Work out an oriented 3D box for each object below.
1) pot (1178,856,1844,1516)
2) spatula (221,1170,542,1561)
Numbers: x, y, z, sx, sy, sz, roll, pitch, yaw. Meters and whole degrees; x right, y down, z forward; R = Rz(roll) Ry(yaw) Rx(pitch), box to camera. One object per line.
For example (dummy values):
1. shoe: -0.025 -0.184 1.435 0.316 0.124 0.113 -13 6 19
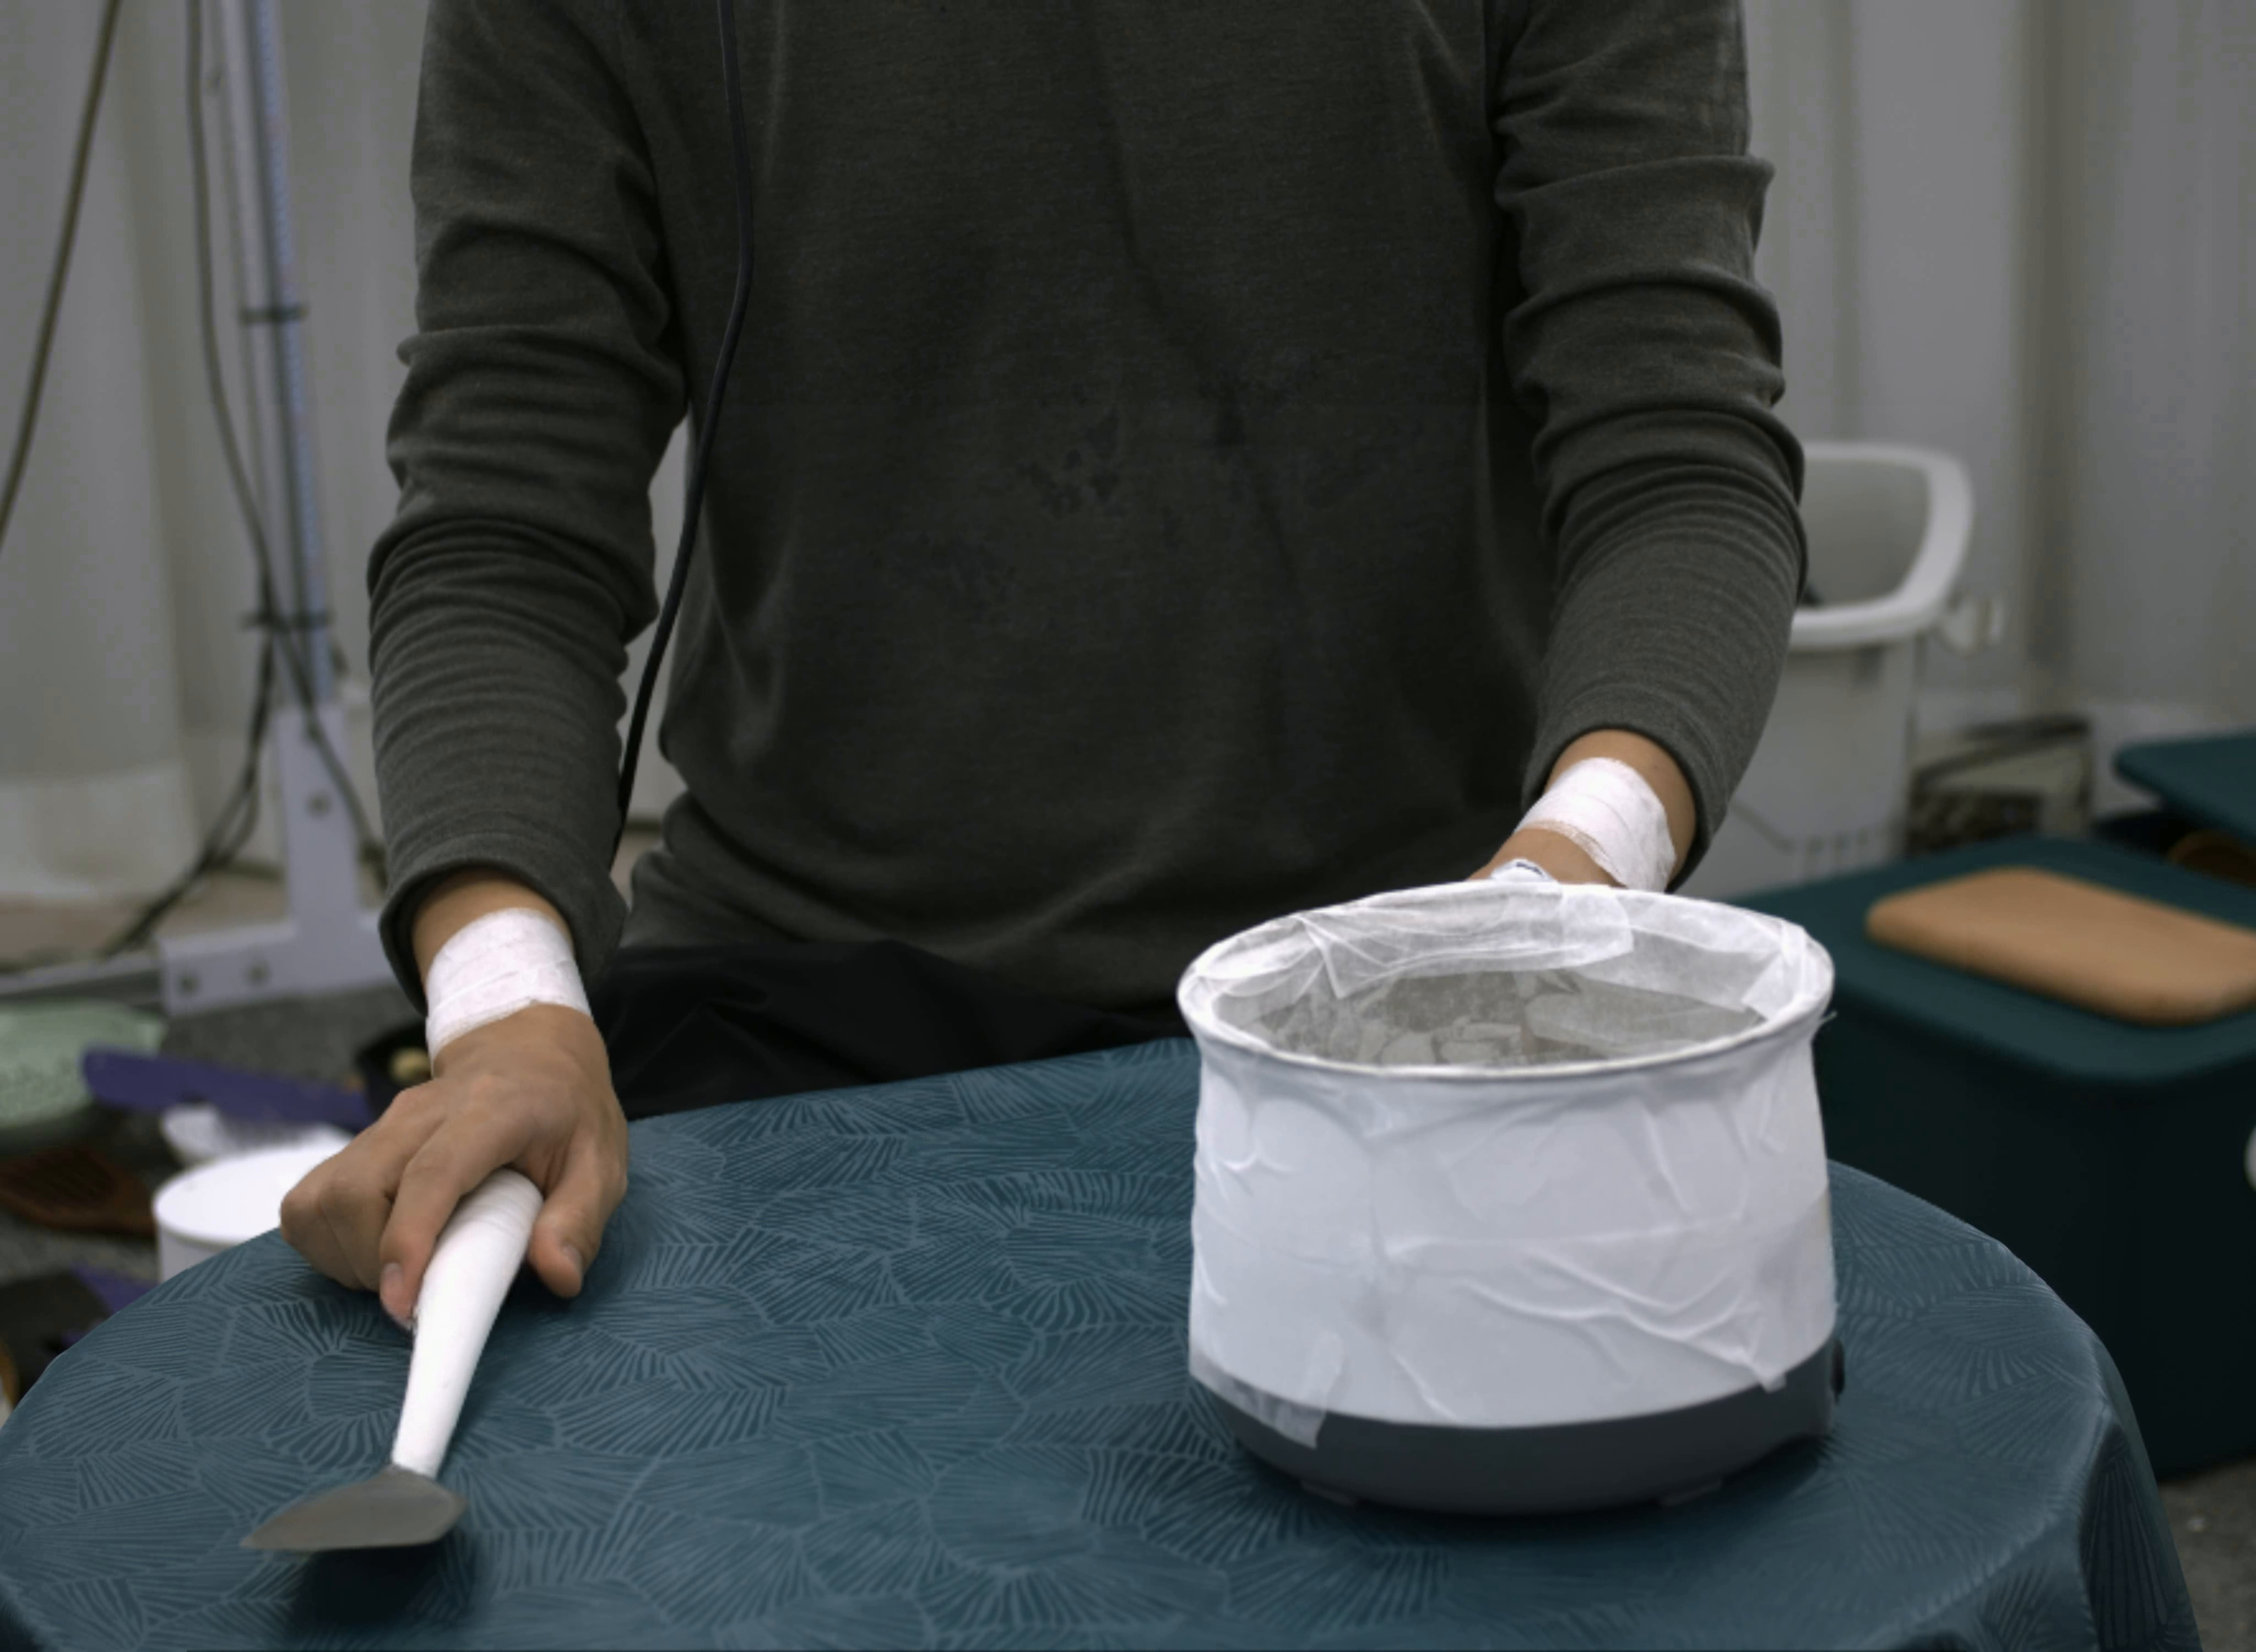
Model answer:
1. pot: 0.107 0.093 1.510 0.178 0.136 0.235 -1 14 6
2. spatula: -0.199 0.156 1.531 0.058 0.032 0.289 1 15 2
